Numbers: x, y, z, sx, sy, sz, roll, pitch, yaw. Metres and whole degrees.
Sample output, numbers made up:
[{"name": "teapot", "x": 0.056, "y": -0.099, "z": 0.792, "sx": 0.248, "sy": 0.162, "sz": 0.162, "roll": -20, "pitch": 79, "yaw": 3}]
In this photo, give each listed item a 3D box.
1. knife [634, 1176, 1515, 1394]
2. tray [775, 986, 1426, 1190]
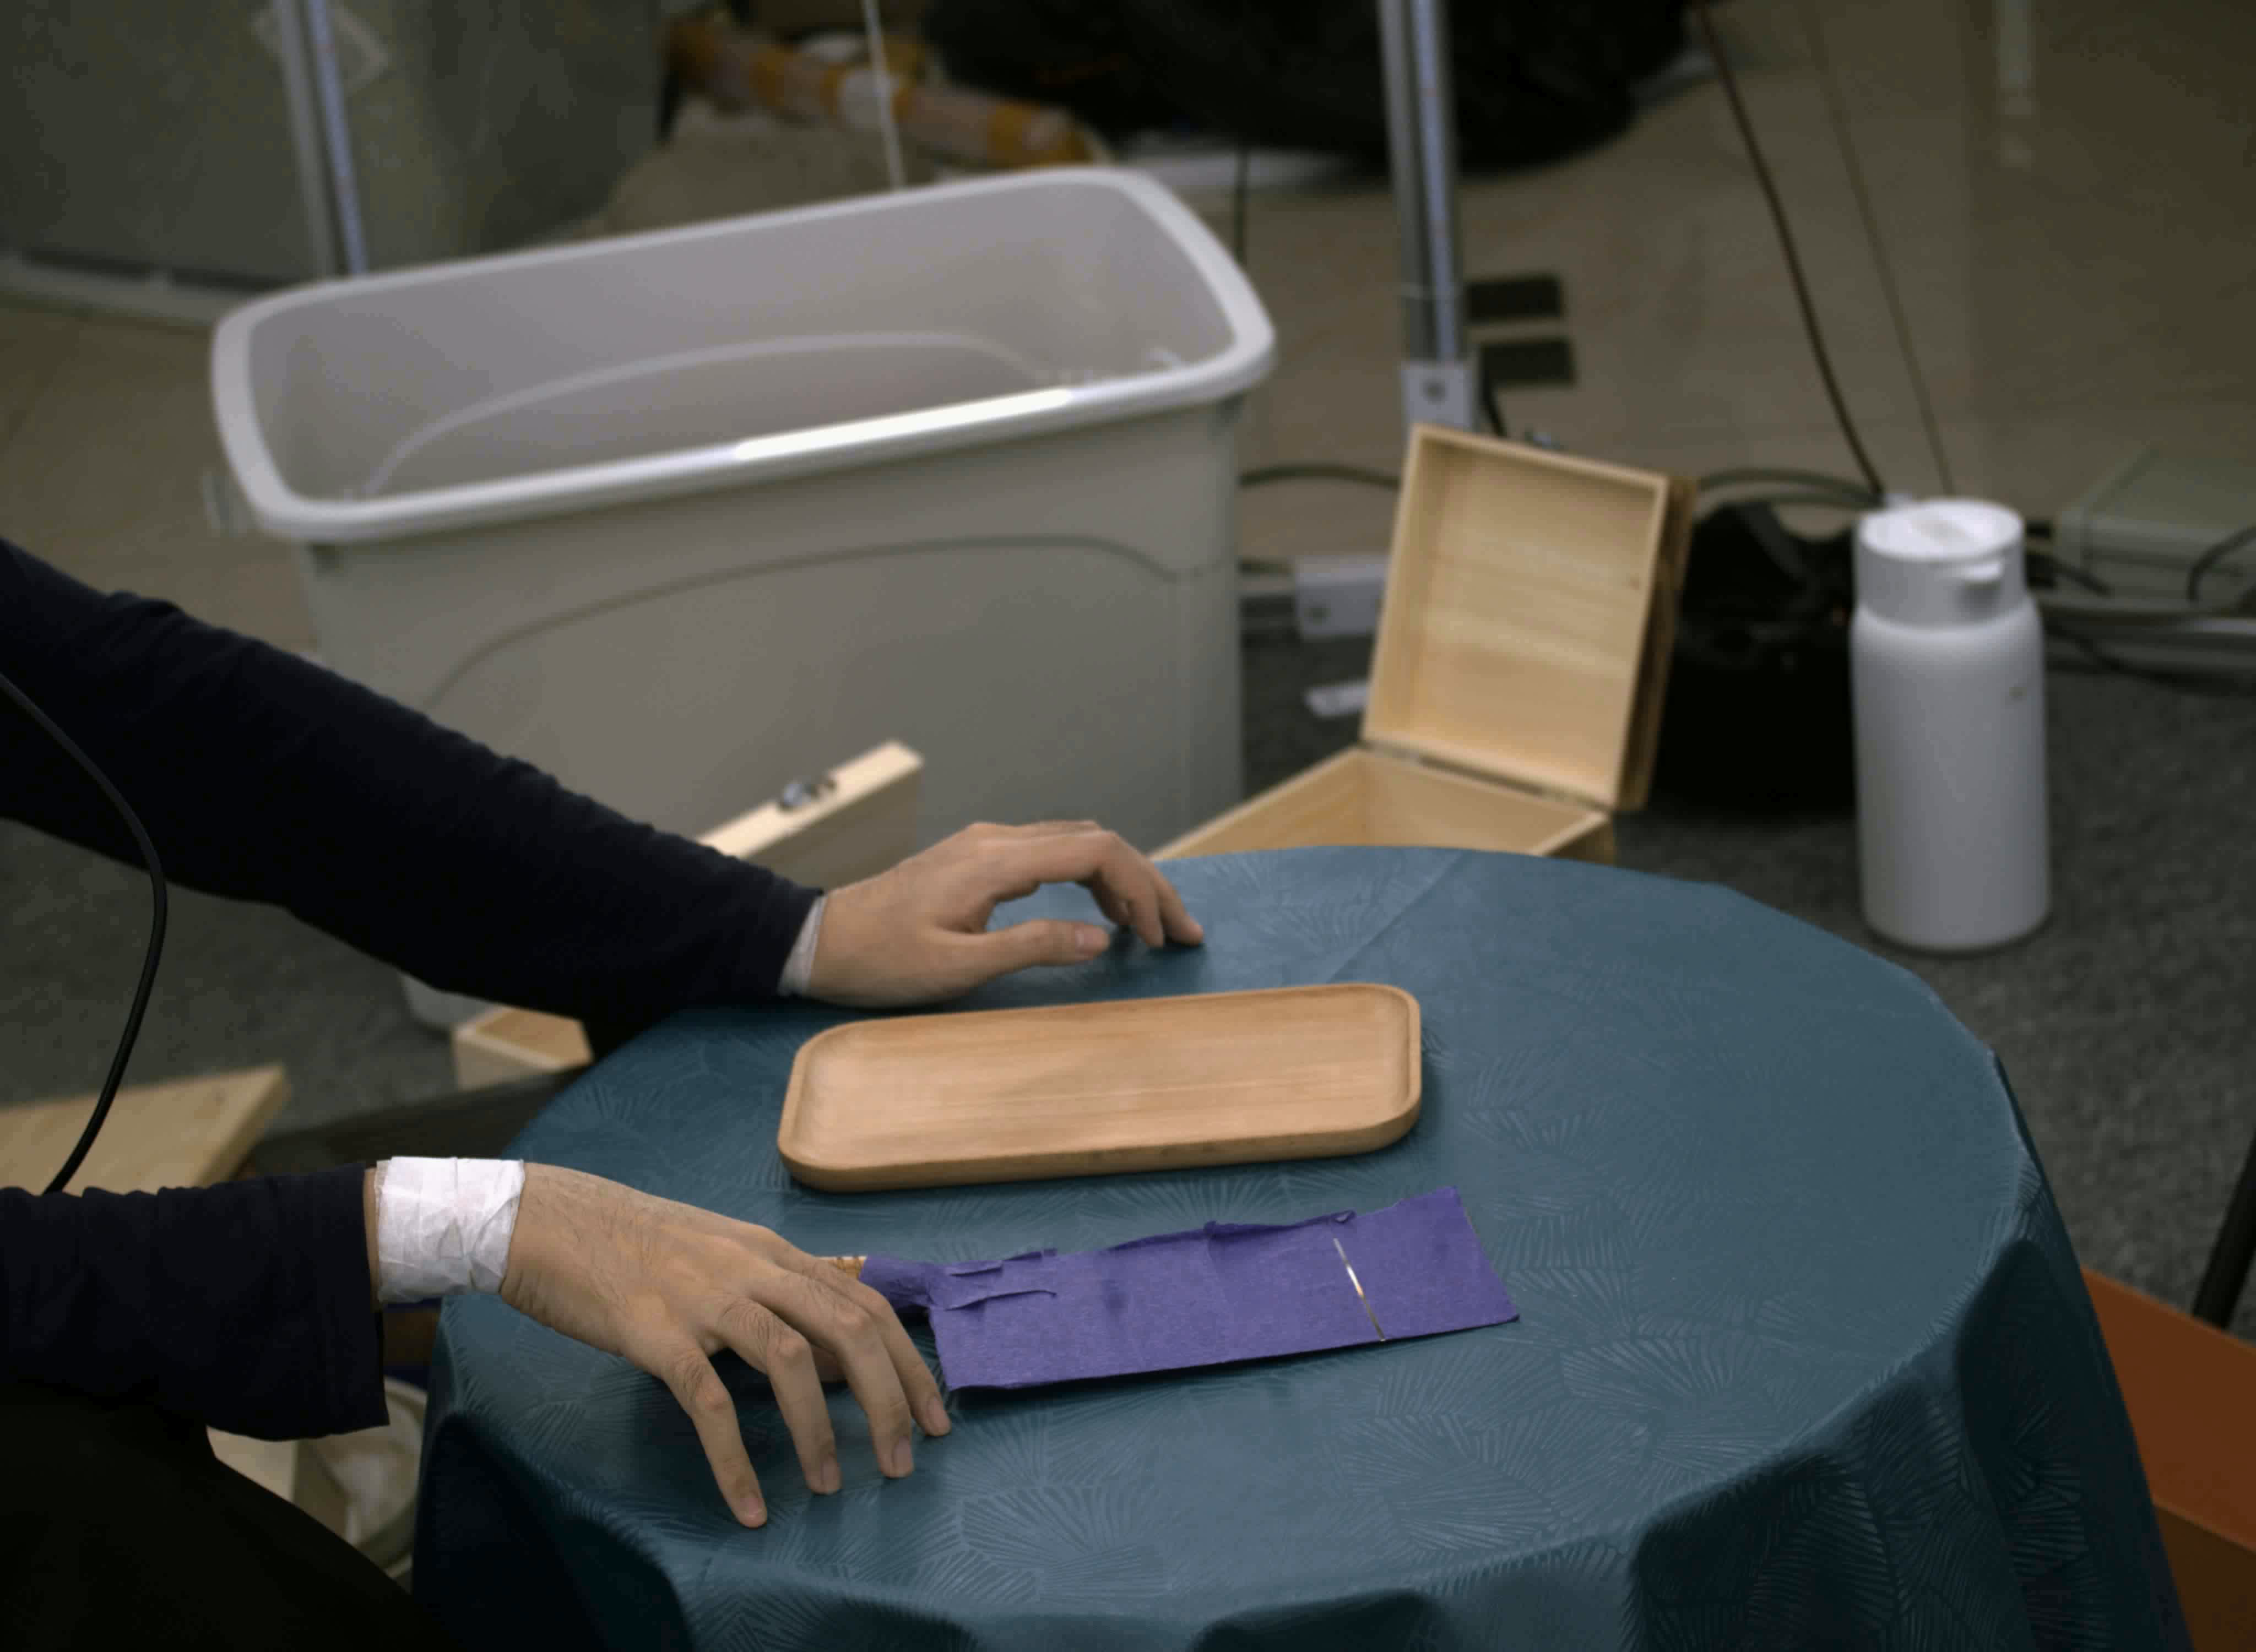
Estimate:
[{"name": "knife", "x": -0.020, "y": 0.172, "z": 2.054, "sx": 0.314, "sy": 0.033, "sz": 0.102, "roll": -9, "pitch": 25, "yaw": -6}, {"name": "tray", "x": -0.009, "y": 0.103, "z": 2.213, "sx": 0.250, "sy": 0.023, "sz": 0.128, "roll": -3, "pitch": 27, "yaw": 7}]
